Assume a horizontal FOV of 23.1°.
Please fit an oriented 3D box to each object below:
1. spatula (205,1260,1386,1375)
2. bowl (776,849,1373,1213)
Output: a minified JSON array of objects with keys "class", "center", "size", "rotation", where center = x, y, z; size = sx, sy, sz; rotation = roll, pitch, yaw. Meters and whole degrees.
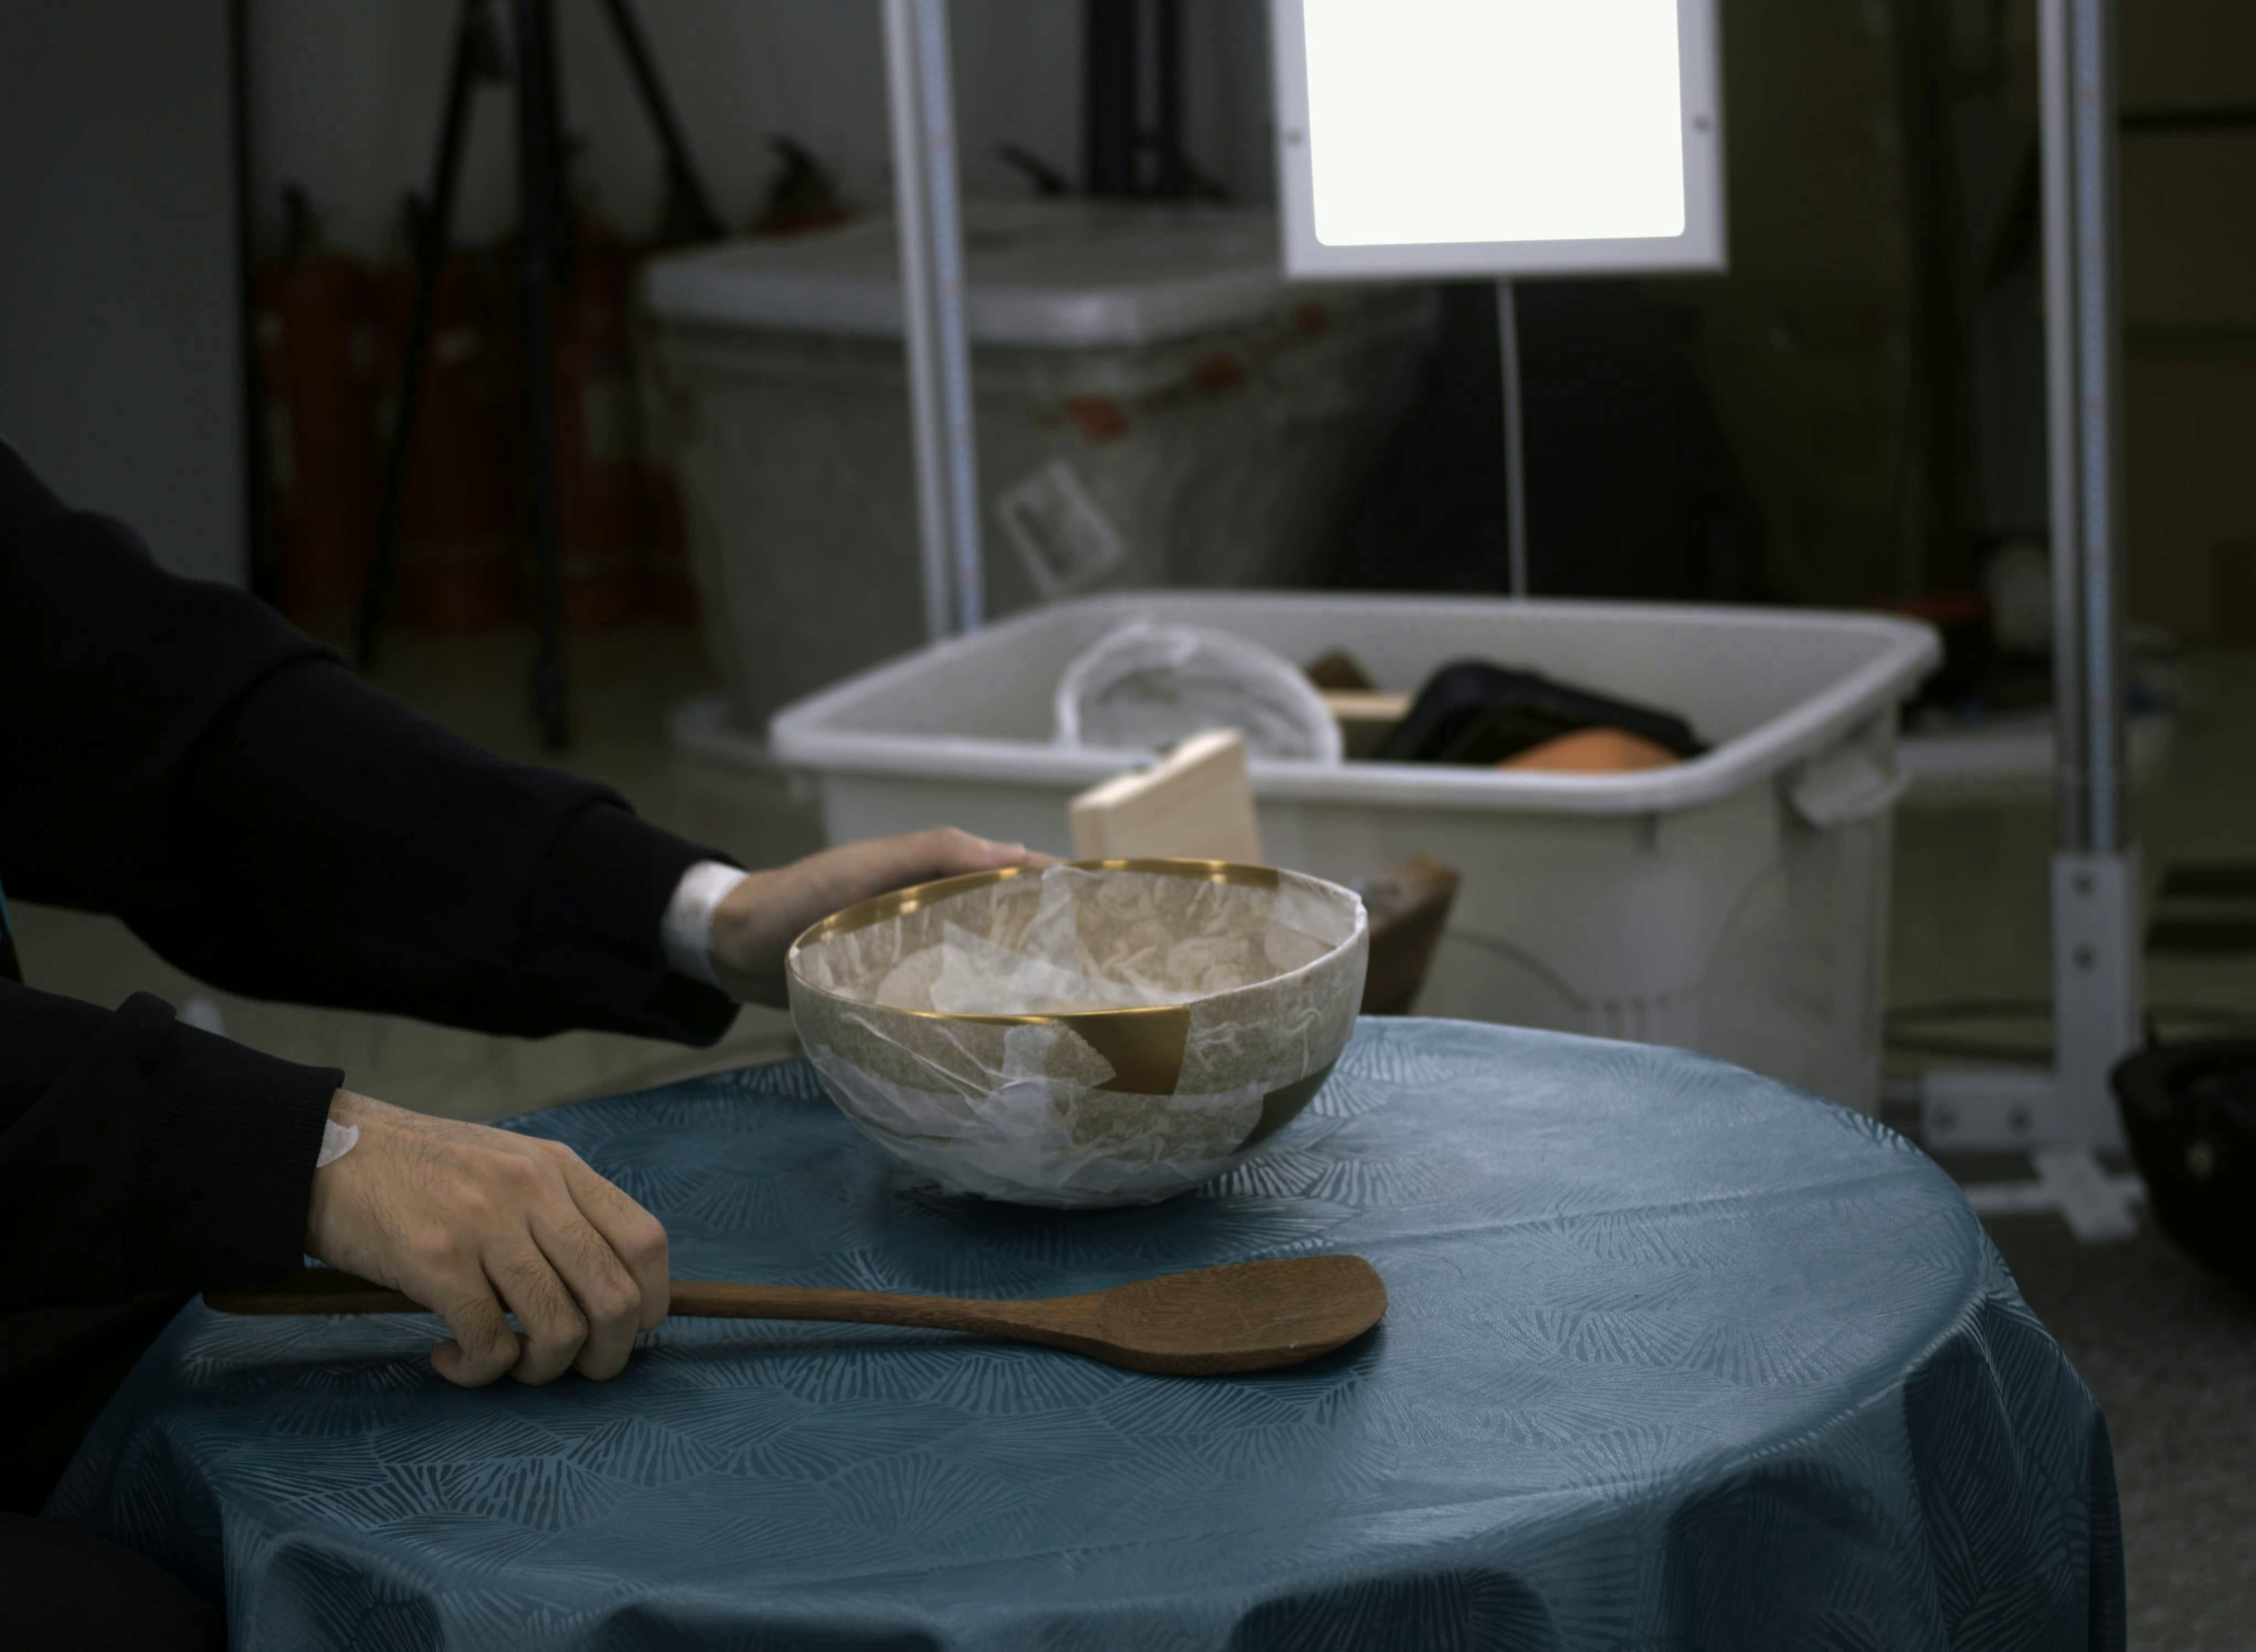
[{"class":"spatula","center":[-0.109,0.154,1.769],"size":[0.388,0.016,0.095],"rotation":[1,14,9]},{"class":"bowl","center":[-0.016,0.078,1.904],"size":[0.214,0.095,0.214],"rotation":[-6,15,0]}]
